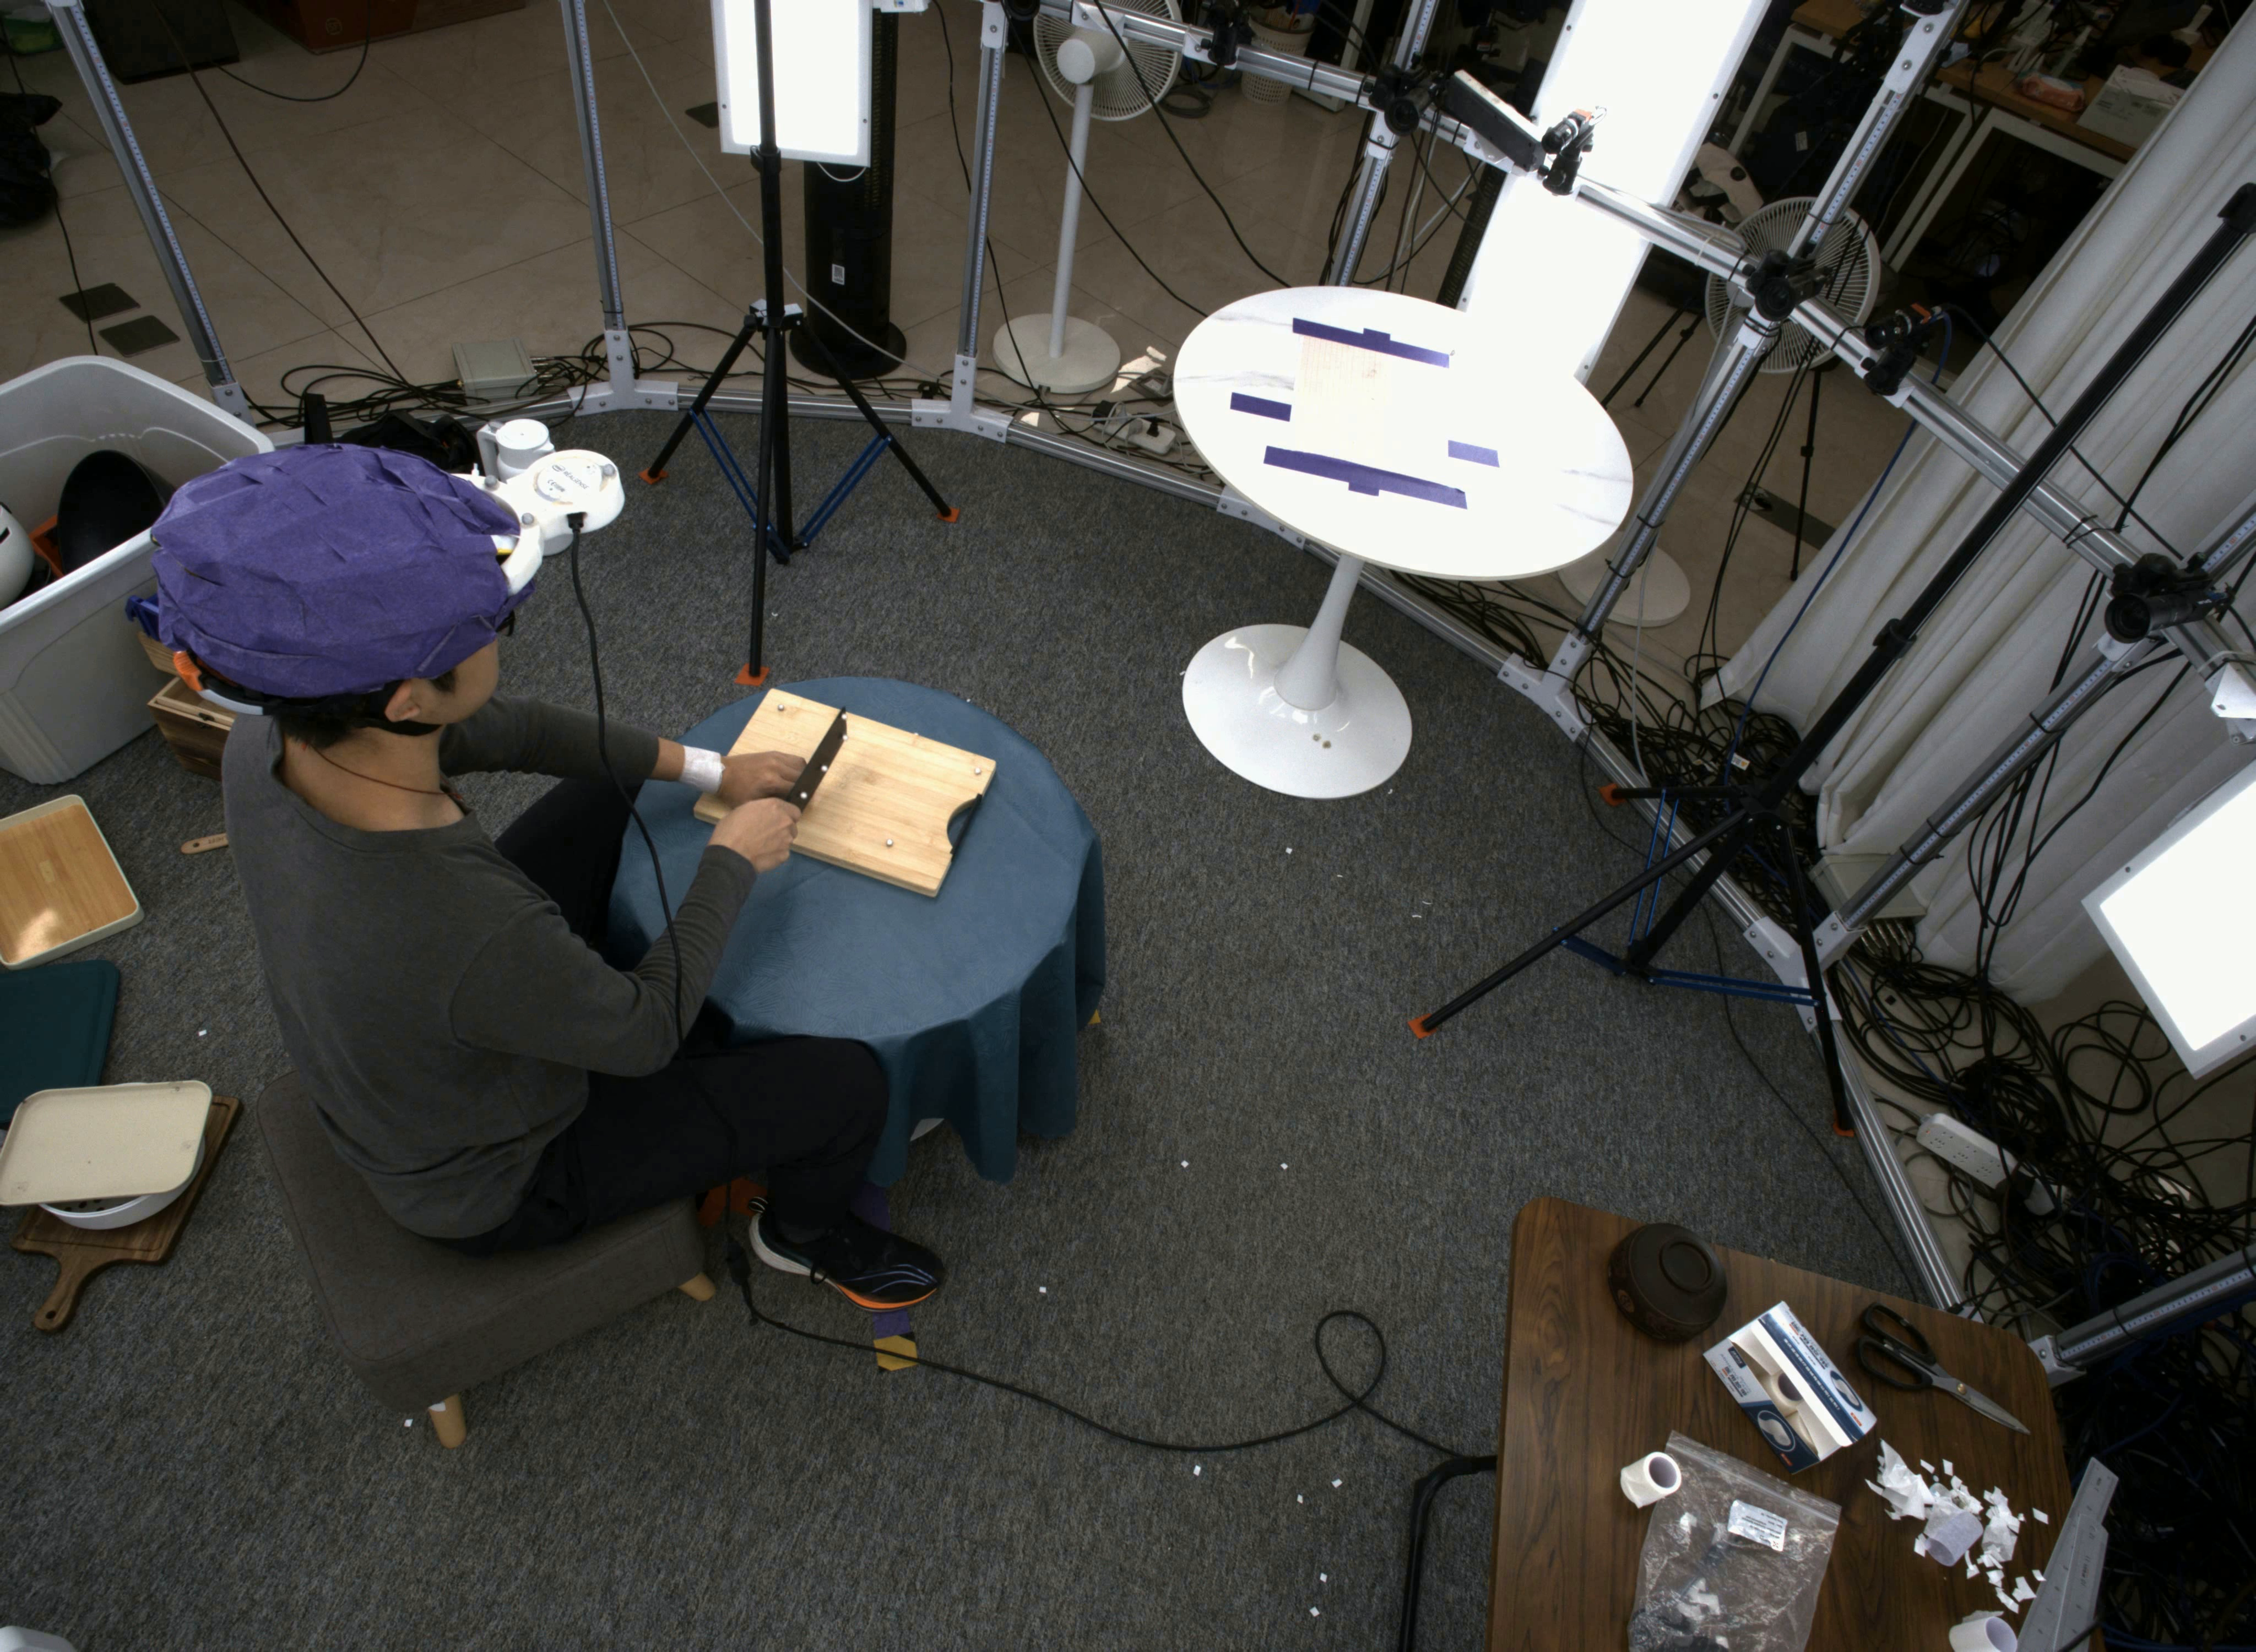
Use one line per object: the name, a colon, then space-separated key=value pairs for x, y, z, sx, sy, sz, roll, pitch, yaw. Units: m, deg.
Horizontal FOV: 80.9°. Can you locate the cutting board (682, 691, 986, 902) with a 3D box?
cutting board: x=-0.394 y=-0.047 z=1.768 sx=0.346 sy=0.024 sz=0.248 roll=17 pitch=52 yaw=-1

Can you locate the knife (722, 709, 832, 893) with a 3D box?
knife: x=-0.442 y=-0.032 z=1.652 sx=0.020 sy=0.083 sz=0.299 roll=16 pitch=46 yaw=6
